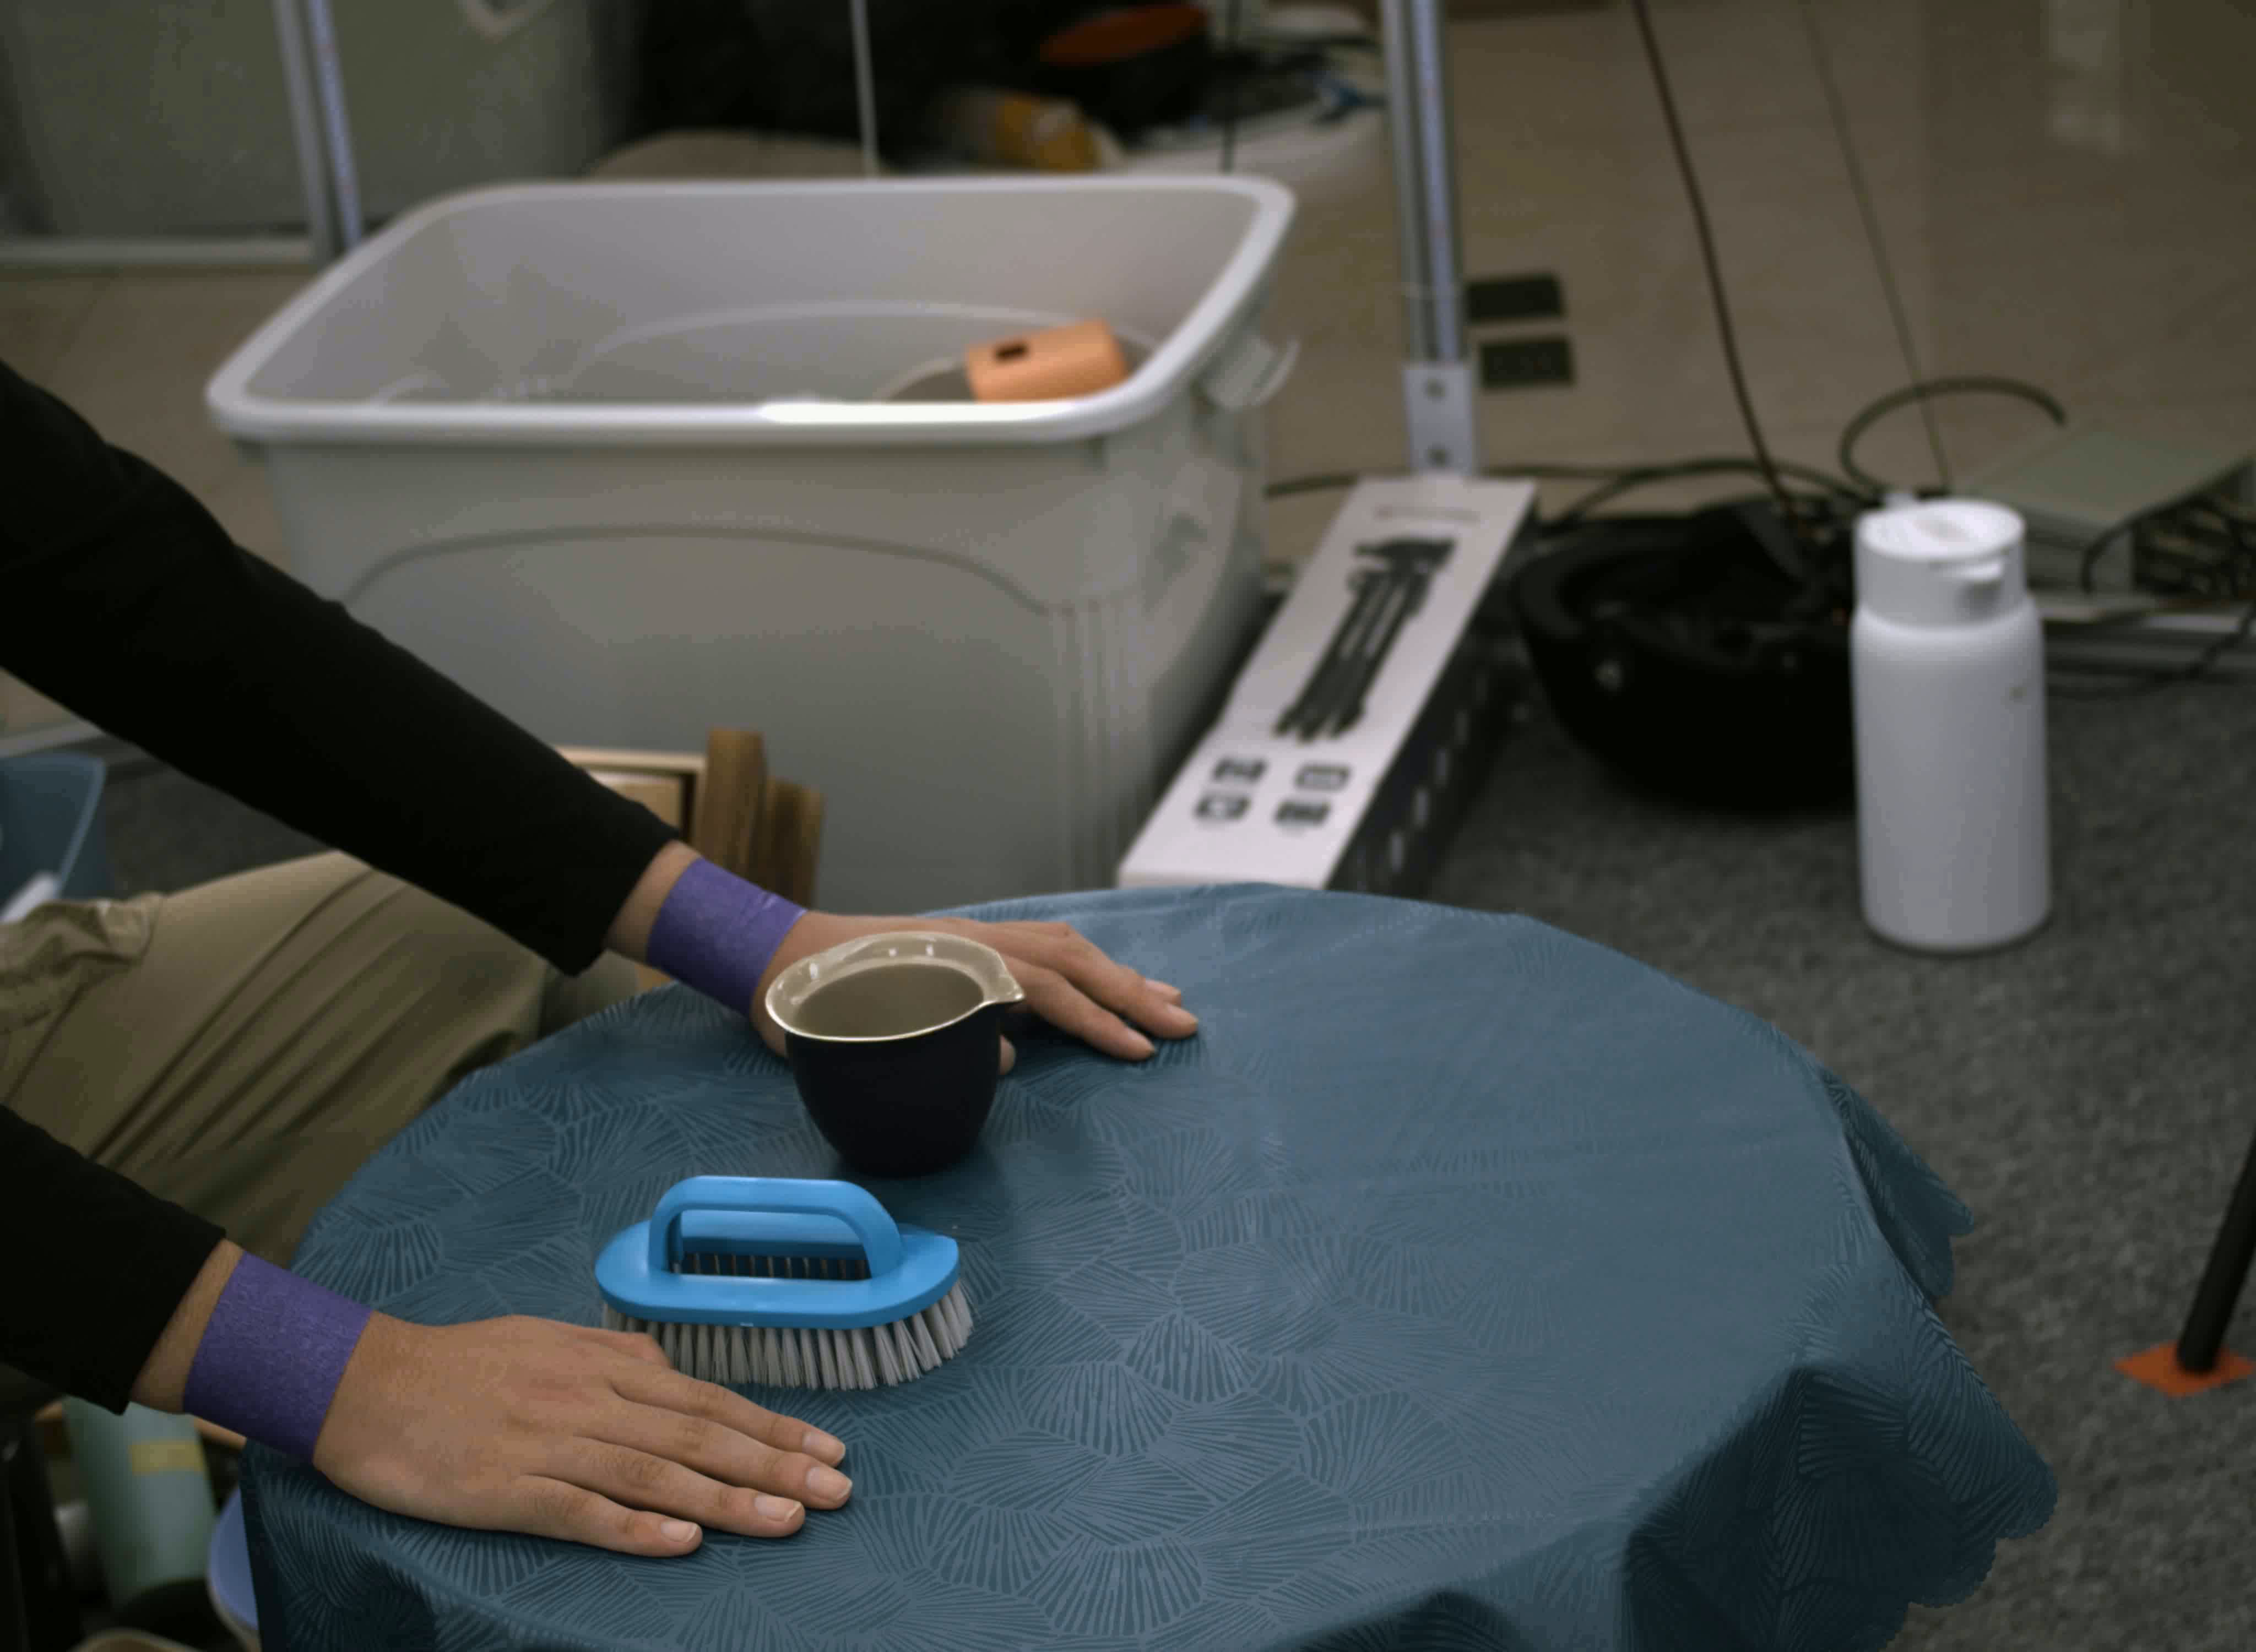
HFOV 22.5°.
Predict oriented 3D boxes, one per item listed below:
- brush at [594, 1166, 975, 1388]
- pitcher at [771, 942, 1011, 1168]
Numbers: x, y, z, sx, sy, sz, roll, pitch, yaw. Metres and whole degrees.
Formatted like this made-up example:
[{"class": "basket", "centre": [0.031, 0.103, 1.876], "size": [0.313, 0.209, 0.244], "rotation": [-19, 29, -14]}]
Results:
[{"class": "brush", "centre": [-0.129, 0.155, 2.065], "size": [0.141, 0.065, 0.083], "rotation": [1, 30, 18]}, {"class": "pitcher", "centre": [-0.088, 0.090, 2.184], "size": [0.095, 0.072, 0.082], "rotation": [6, 27, 21]}]
